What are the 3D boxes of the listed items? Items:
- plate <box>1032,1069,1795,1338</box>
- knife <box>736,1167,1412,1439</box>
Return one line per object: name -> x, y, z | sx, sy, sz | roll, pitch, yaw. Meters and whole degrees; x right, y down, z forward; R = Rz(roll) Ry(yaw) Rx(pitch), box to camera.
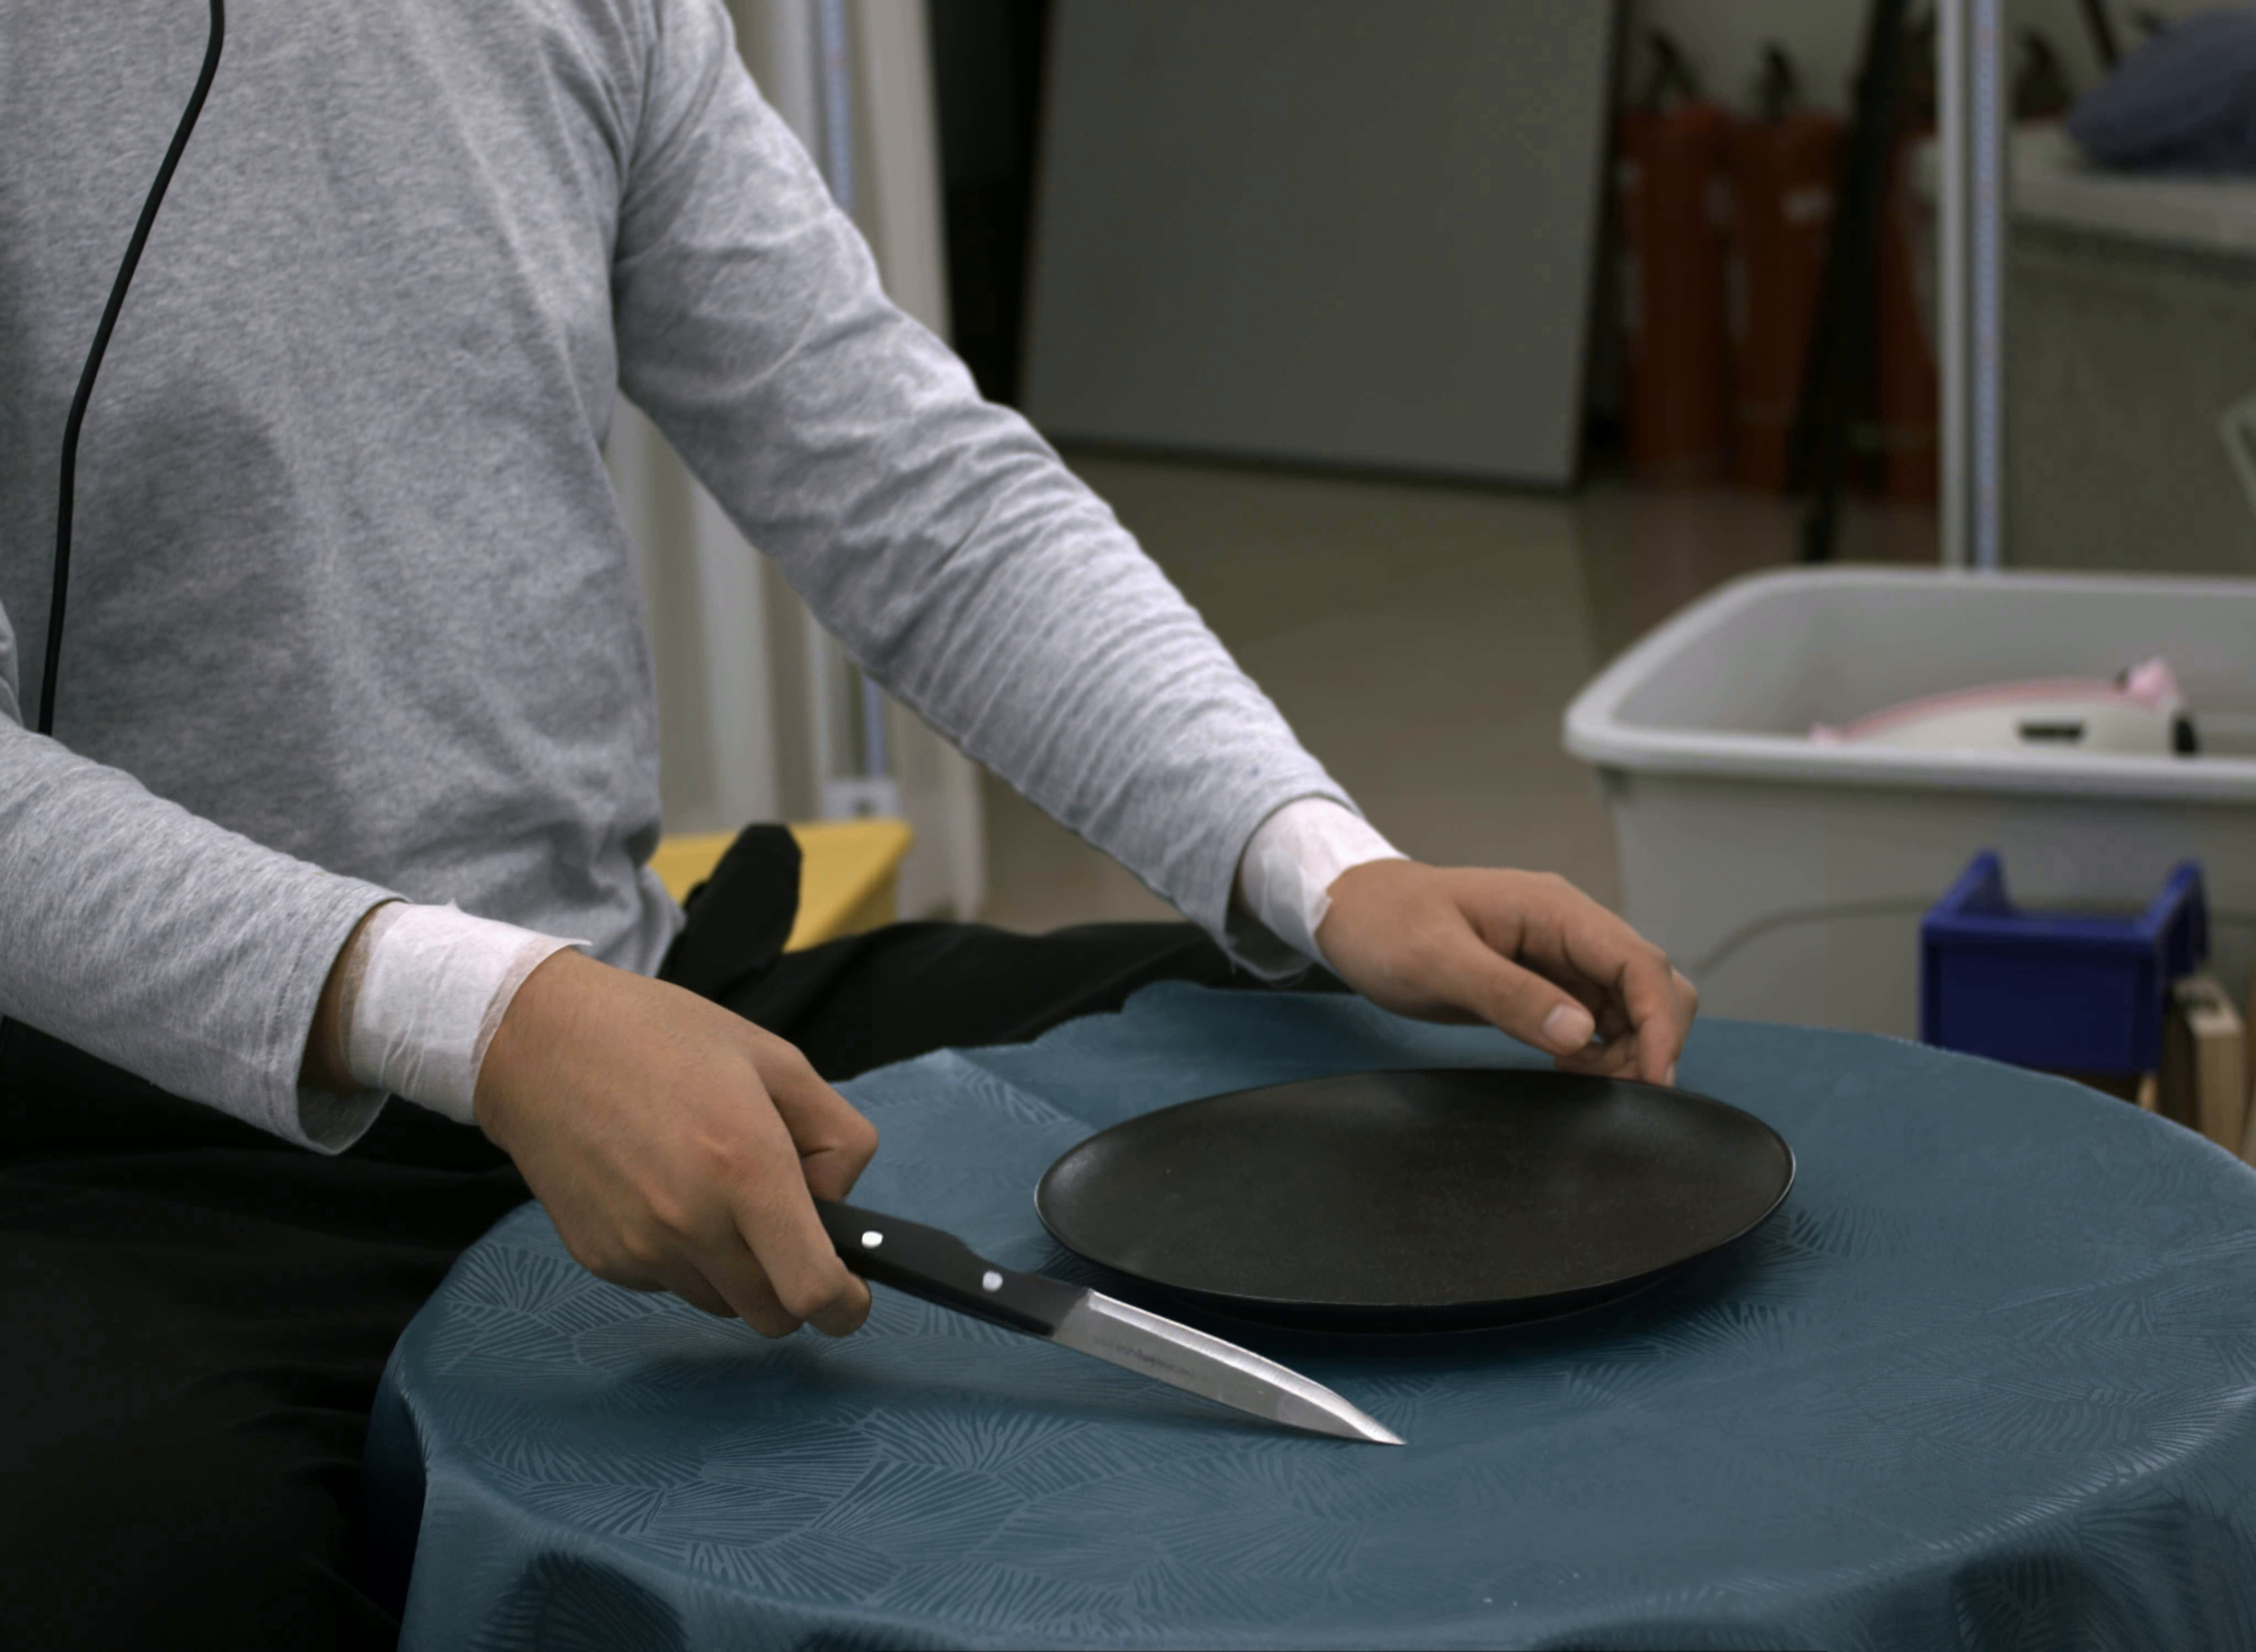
plate -> 0.090, 0.121, 1.700 | 0.241, 0.024, 0.245 | -4, 13, 0
knife -> -0.020, 0.143, 1.585 | 0.239, 0.016, 0.024 | 18, 45, 29
